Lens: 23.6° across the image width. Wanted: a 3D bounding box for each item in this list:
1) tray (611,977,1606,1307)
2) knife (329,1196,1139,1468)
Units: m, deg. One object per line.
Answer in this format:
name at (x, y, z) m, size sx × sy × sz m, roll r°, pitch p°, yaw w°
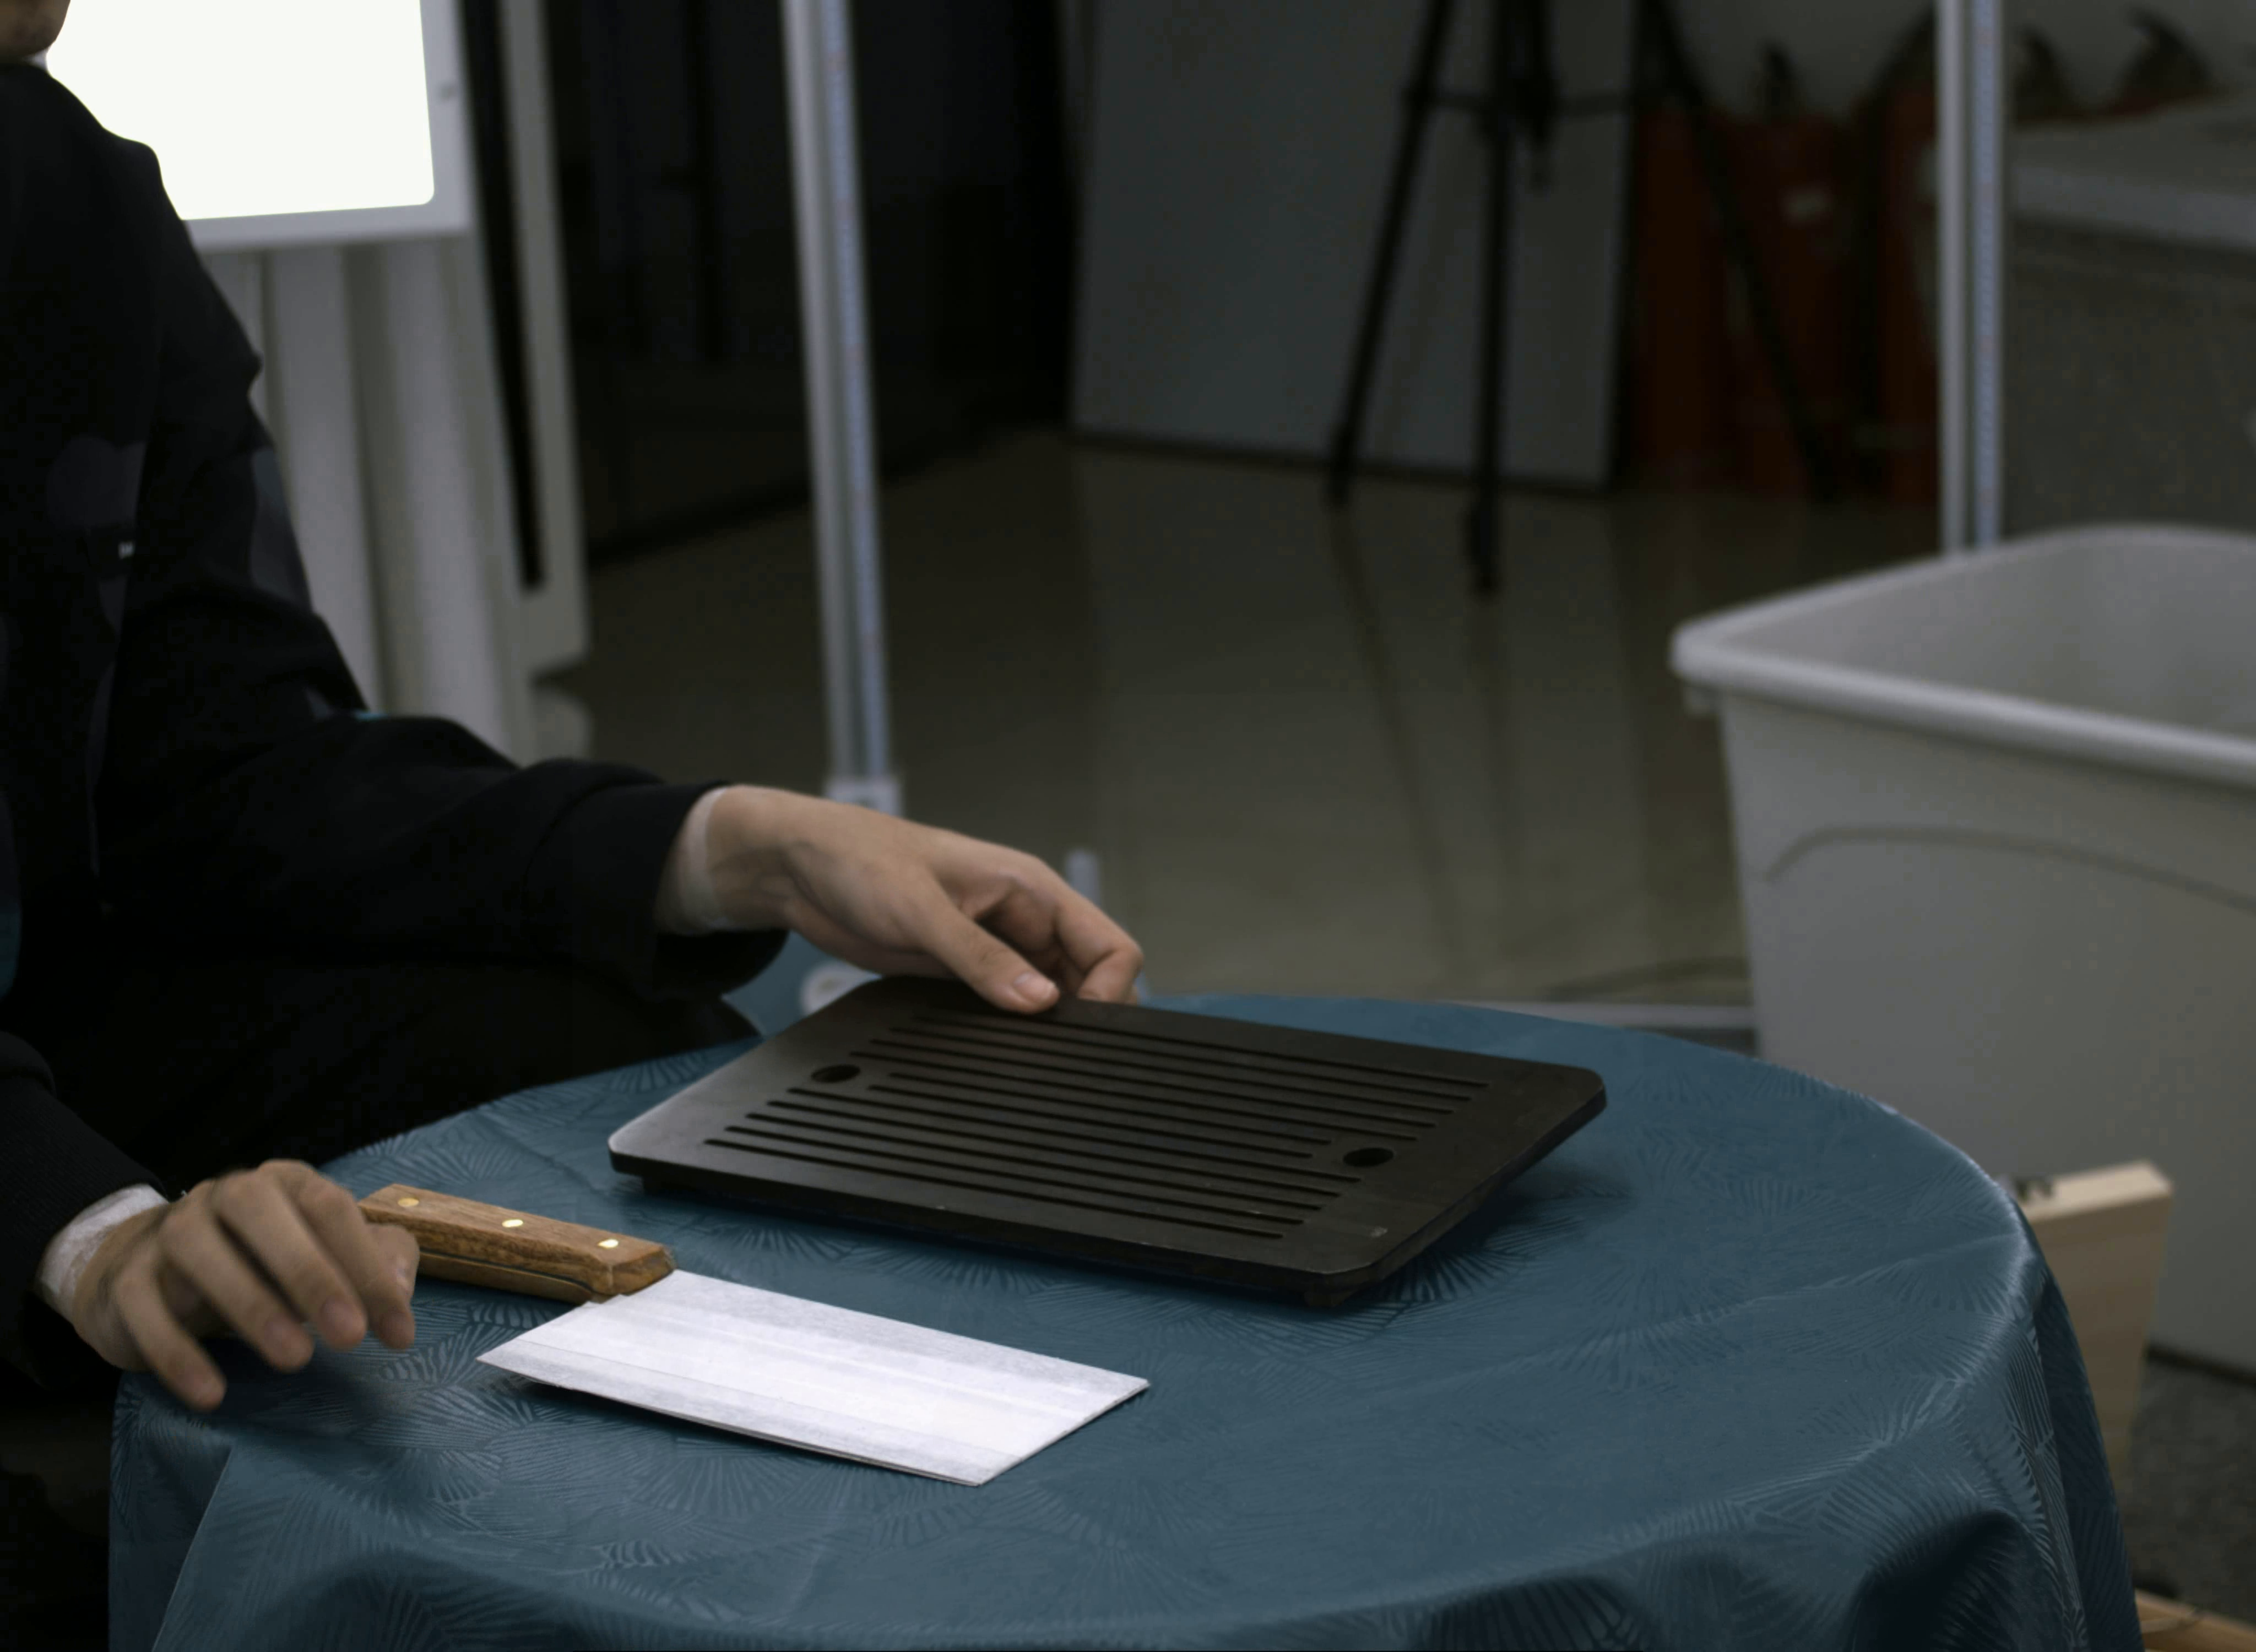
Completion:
tray at (-0.008, 0.102, 1.782) m, size 0.308 × 0.019 × 0.167 m, roll 6°, pitch 23°, yaw 36°
knife at (-0.140, 0.156, 1.641) m, size 0.307 × 0.021 × 0.091 m, roll 9°, pitch 20°, yaw 35°
